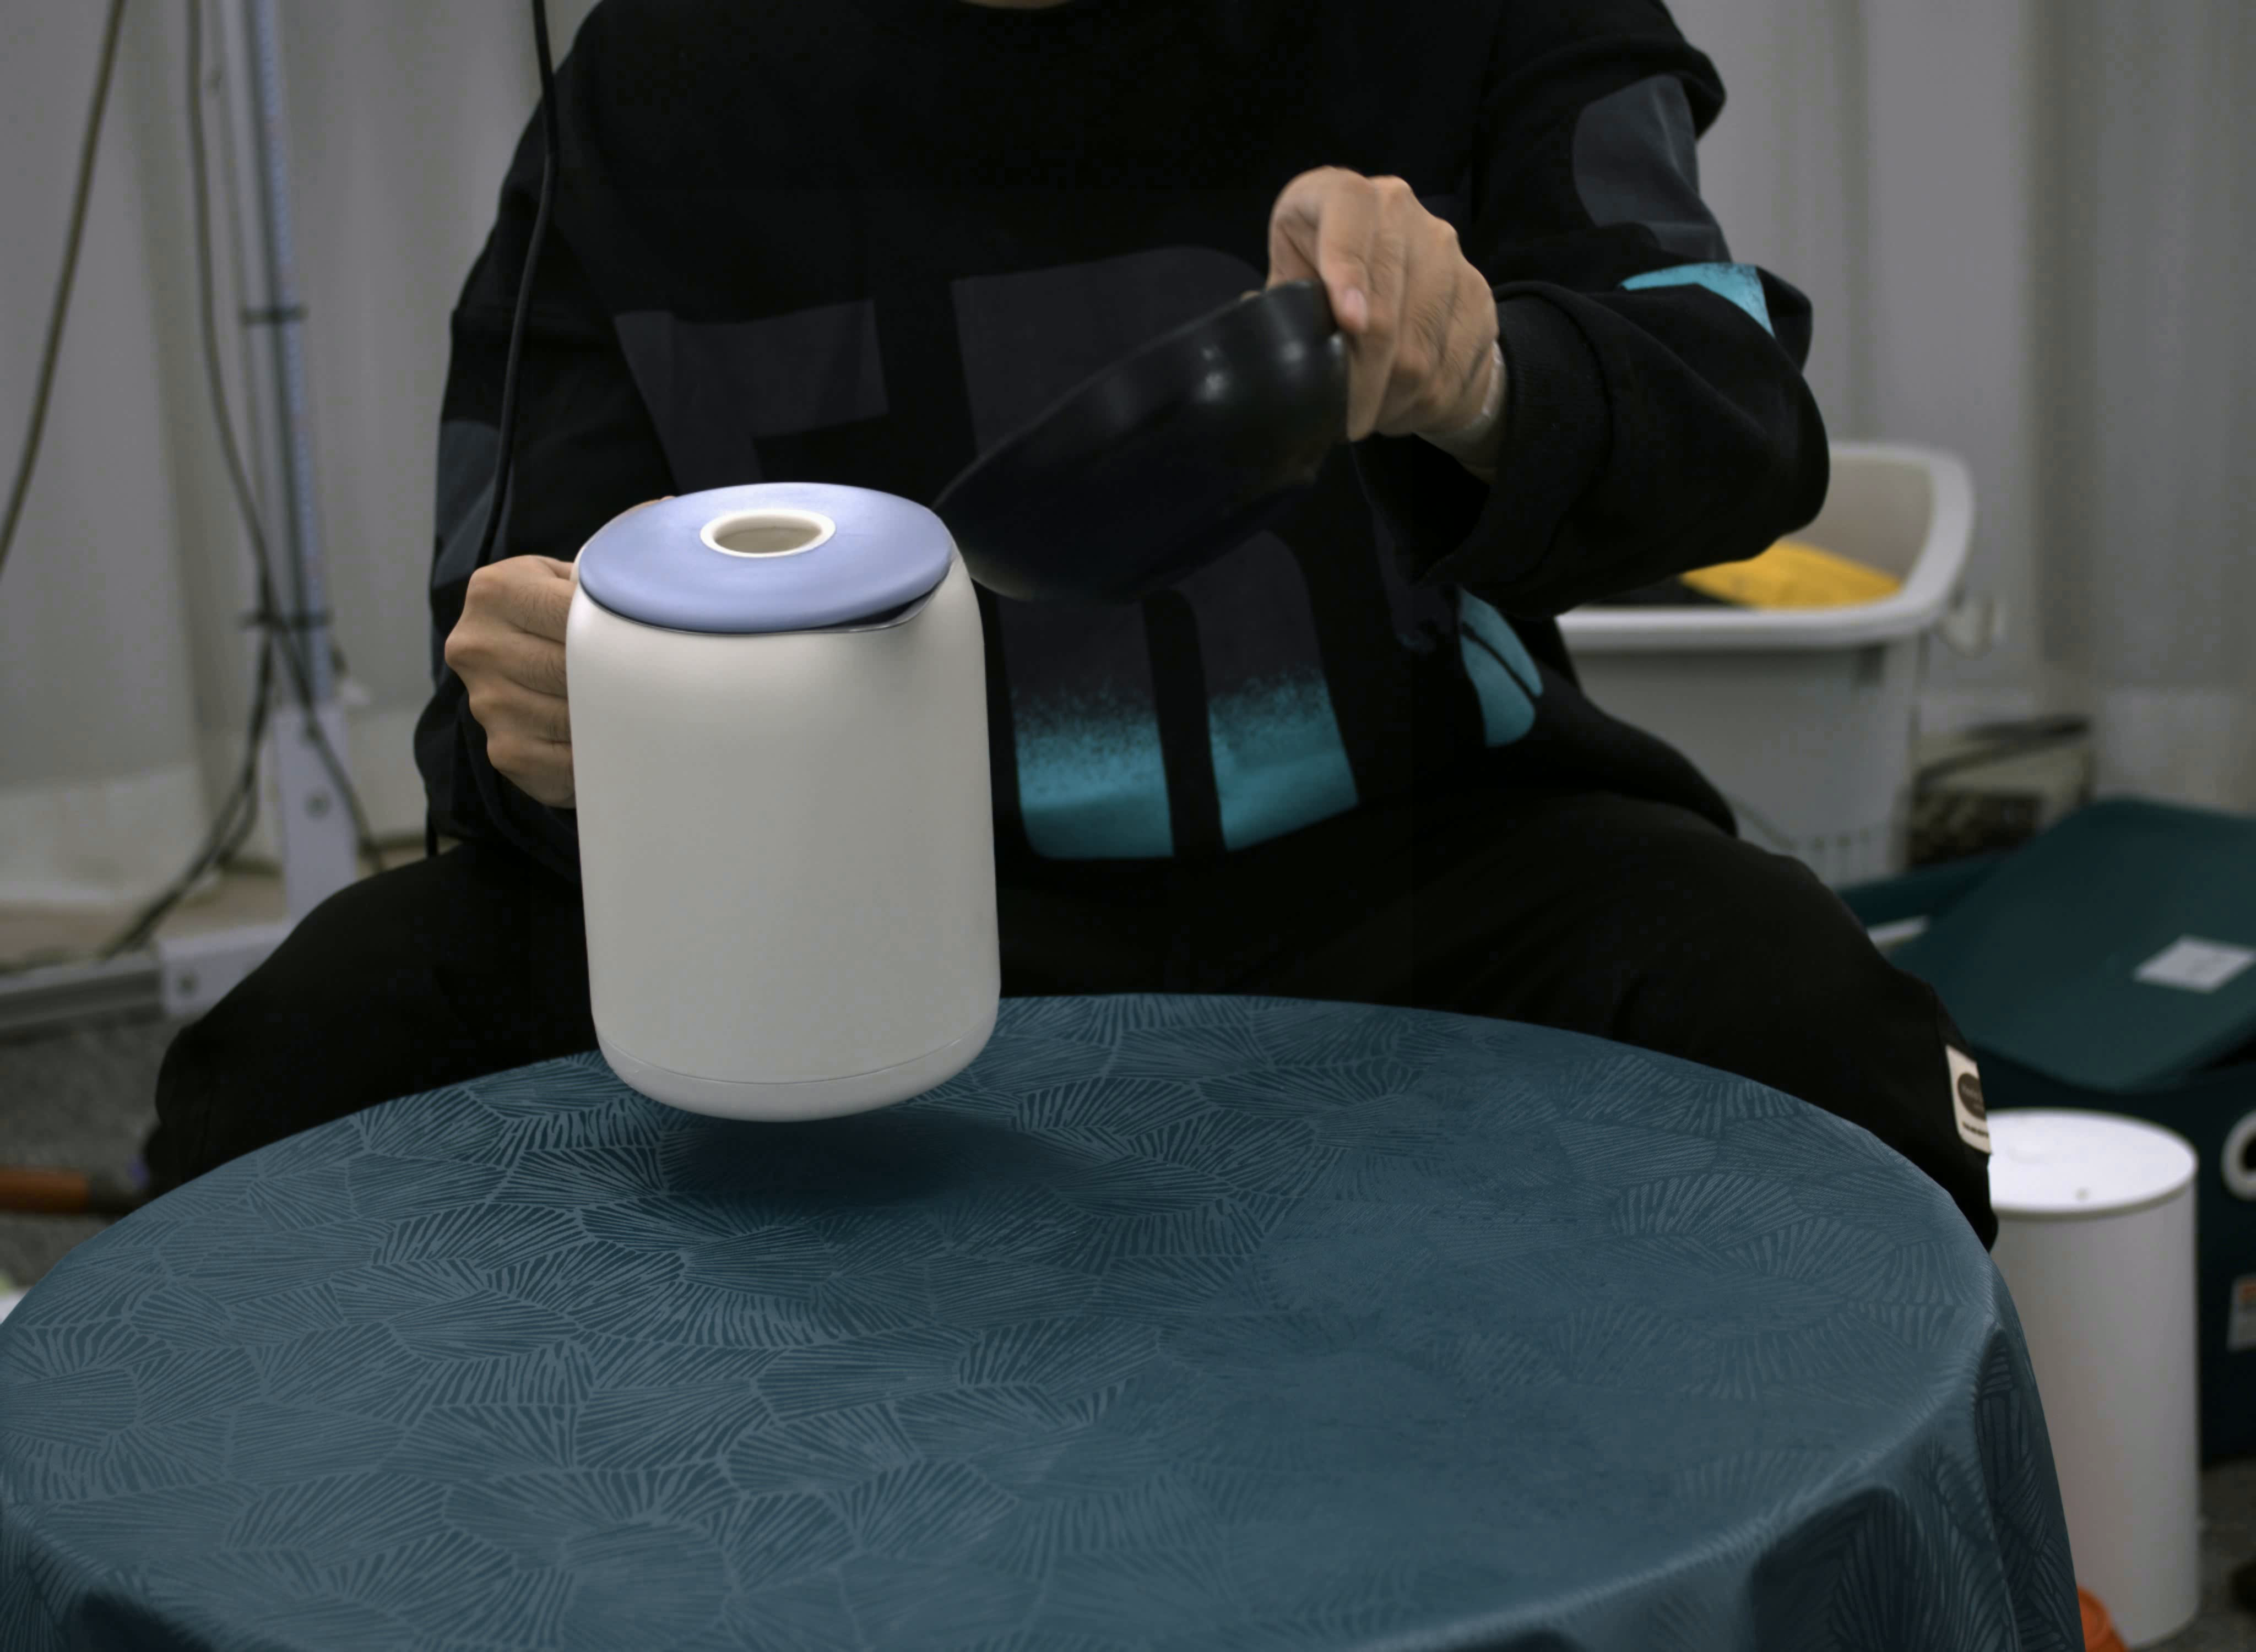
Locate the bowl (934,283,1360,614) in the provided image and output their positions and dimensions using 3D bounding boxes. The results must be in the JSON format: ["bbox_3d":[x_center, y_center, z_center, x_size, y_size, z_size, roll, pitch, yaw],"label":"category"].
[{"bbox_3d":[0.014,-0.101,1.601,0.140,0.050,0.139,-30,-8,-5],"label":"bowl"}]

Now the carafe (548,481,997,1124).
[{"bbox_3d":[-0.125,-0.015,1.742,0.132,0.181,0.192,-17,24,-35],"label":"carafe"}]
